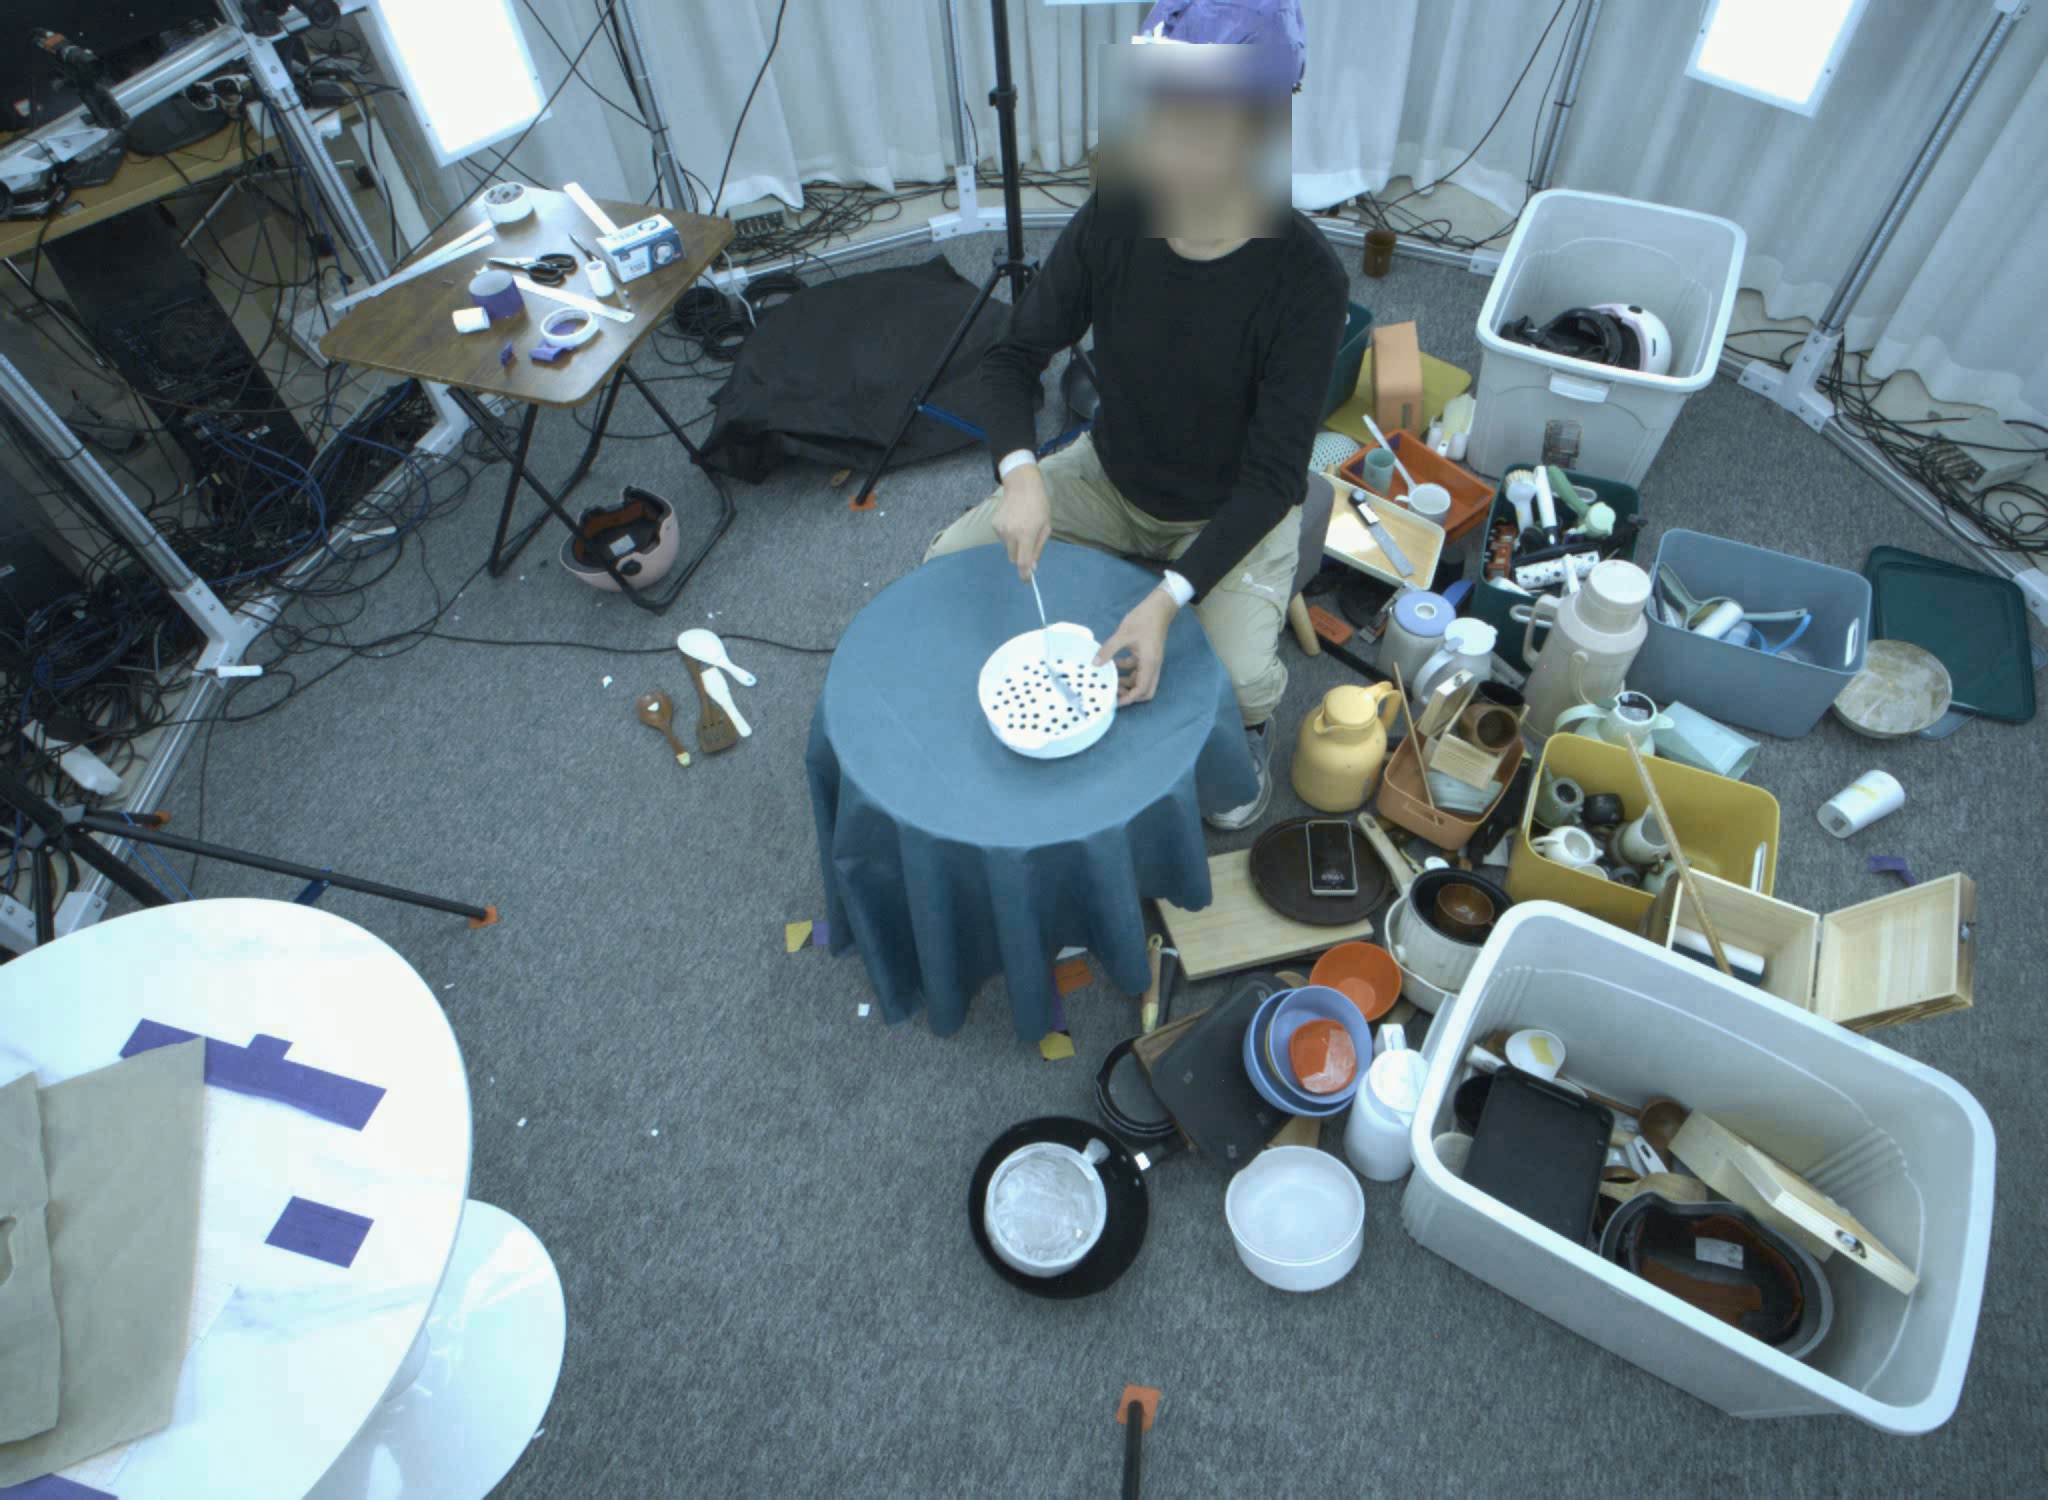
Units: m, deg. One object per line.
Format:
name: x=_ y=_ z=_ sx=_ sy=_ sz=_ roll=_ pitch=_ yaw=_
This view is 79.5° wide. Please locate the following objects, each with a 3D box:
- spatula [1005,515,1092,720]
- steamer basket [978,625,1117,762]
spatula: x=0.030 y=-0.204 z=1.790 sx=0.044 sy=0.100 sz=0.361 roll=-17 pitch=70 yaw=9
steamer basket: x=0.036 y=-0.077 z=1.794 sx=0.200 sy=0.070 sz=0.230 roll=16 pitch=59 yaw=15
